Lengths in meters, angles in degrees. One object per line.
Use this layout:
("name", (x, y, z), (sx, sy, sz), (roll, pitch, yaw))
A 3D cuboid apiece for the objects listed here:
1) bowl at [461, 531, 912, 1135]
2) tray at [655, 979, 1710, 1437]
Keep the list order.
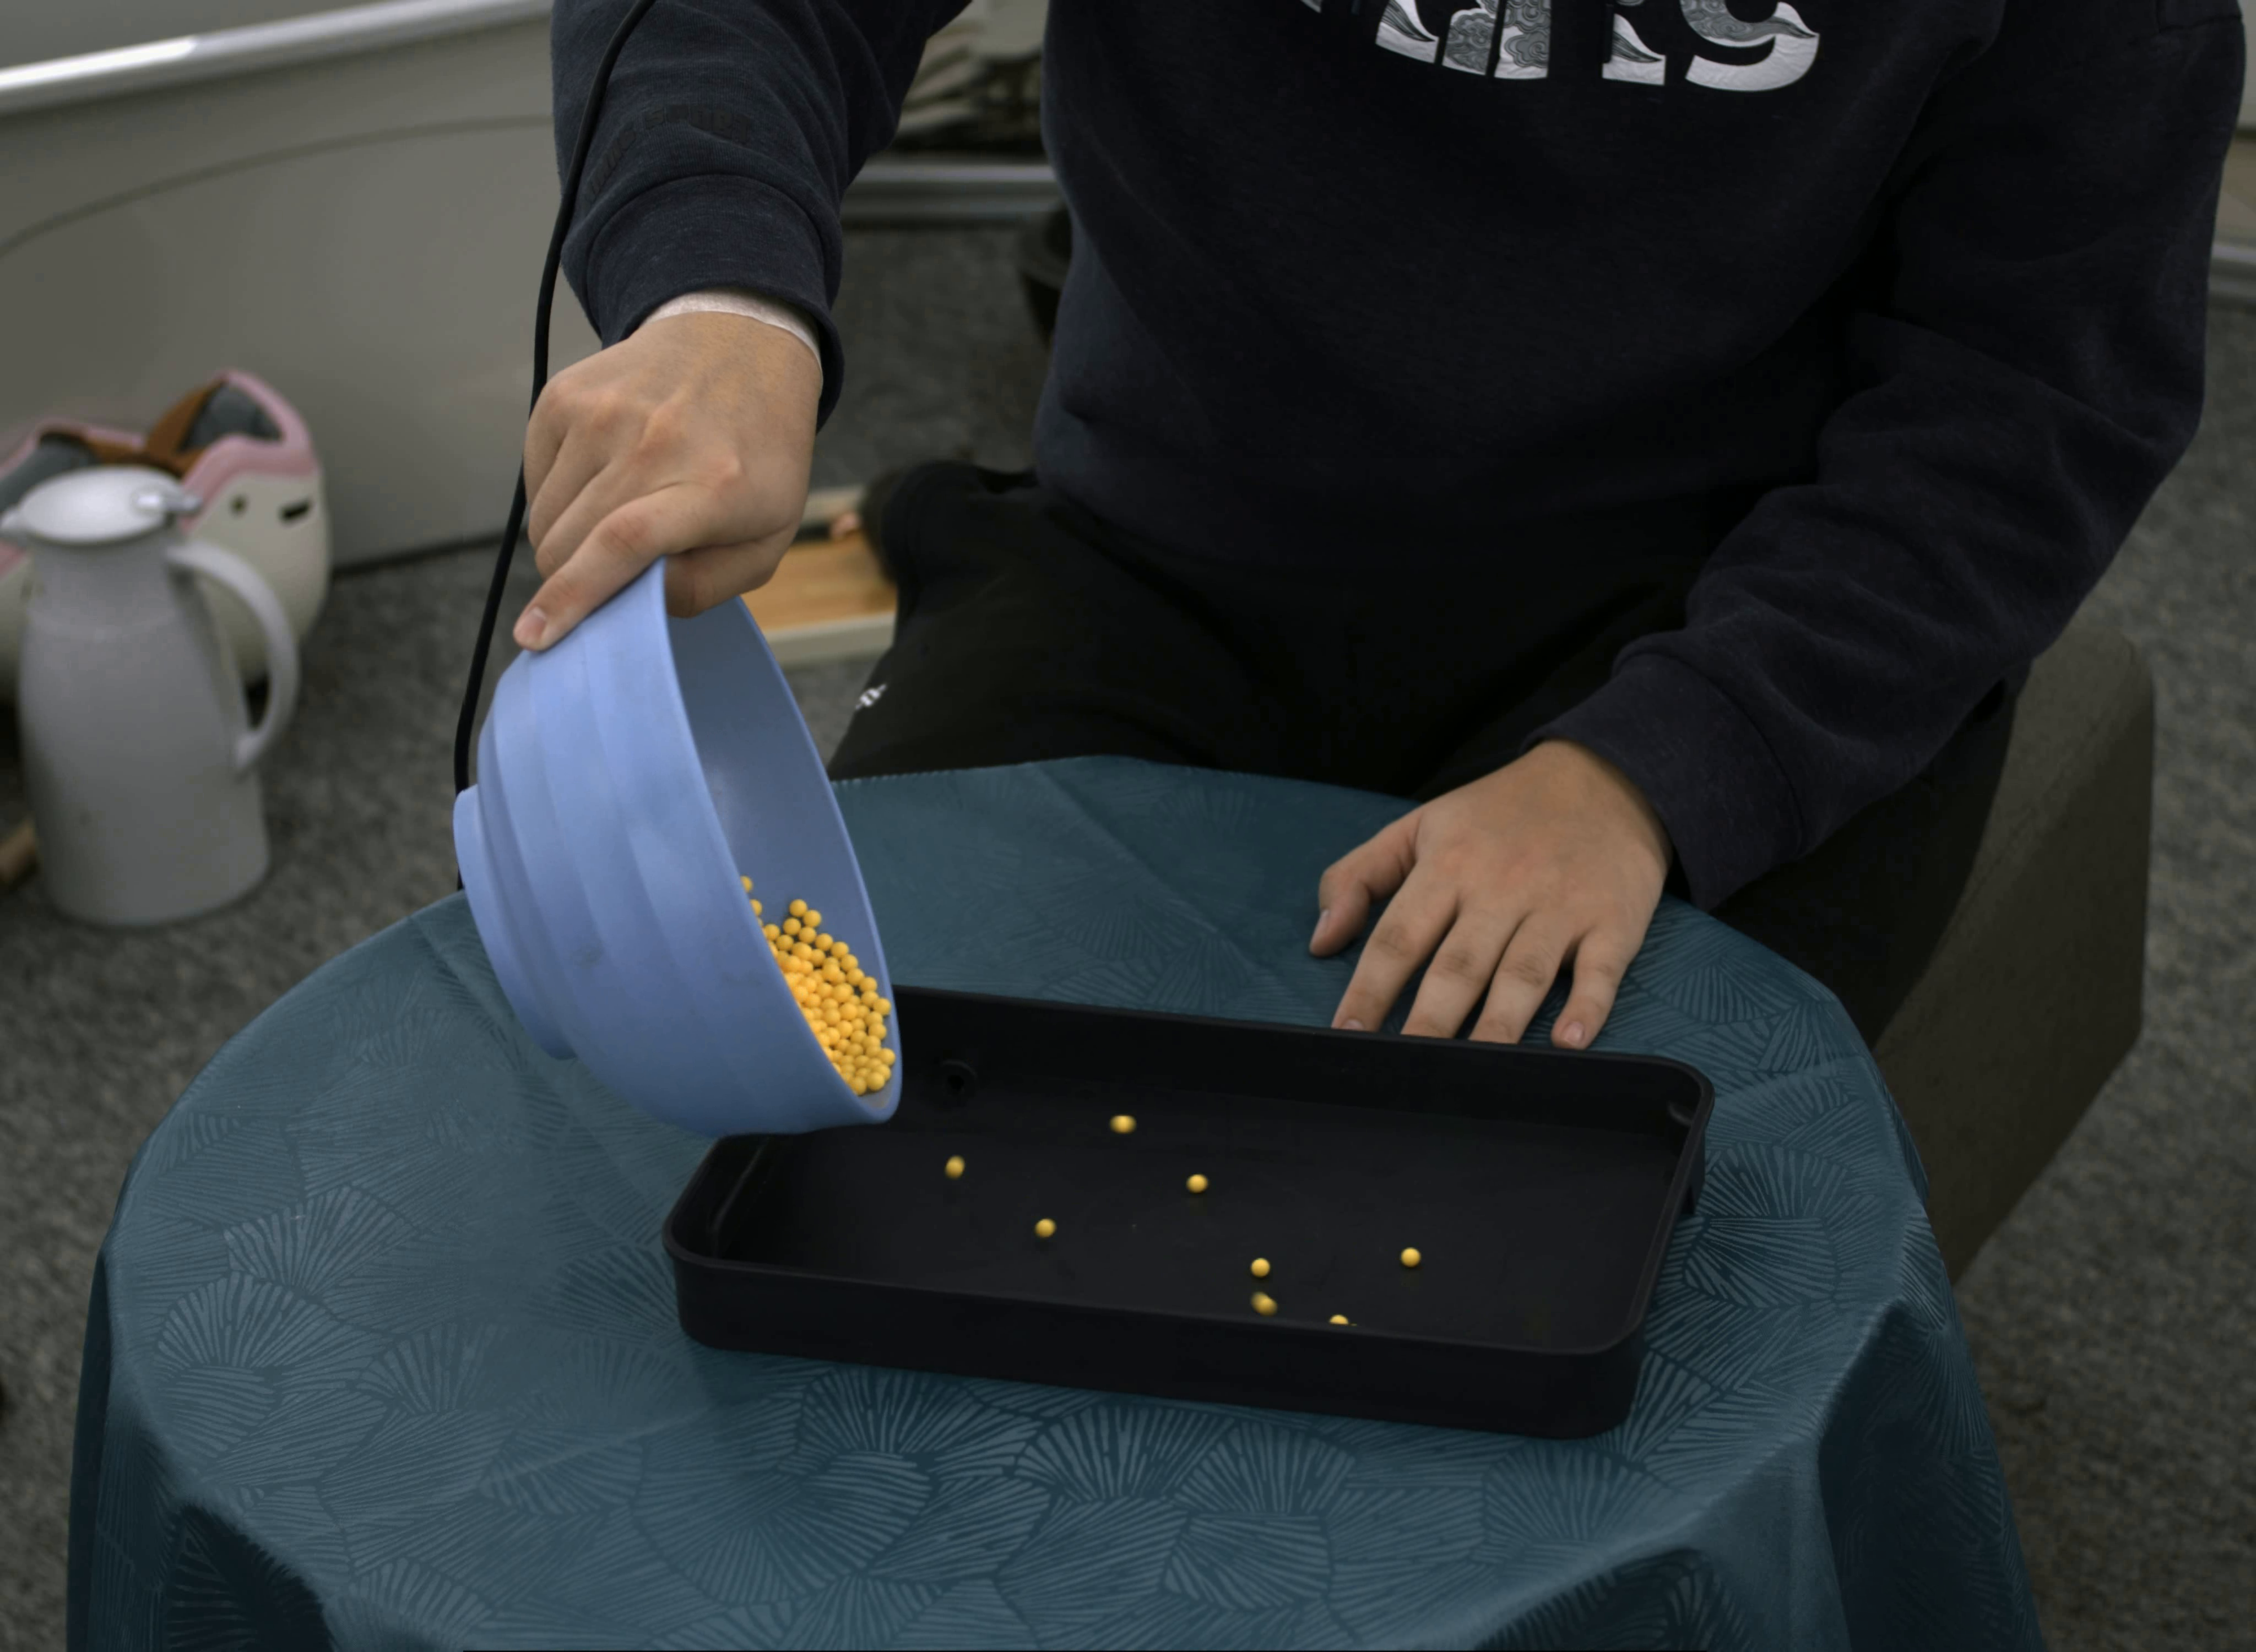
("bowl", (-0.149, 0.015, 1.774), (0.095, 0.195, 0.199), (-19, 26, 9))
("tray", (0.020, 0.120, 1.825), (0.316, 0.036, 0.187), (5, 28, 14))
